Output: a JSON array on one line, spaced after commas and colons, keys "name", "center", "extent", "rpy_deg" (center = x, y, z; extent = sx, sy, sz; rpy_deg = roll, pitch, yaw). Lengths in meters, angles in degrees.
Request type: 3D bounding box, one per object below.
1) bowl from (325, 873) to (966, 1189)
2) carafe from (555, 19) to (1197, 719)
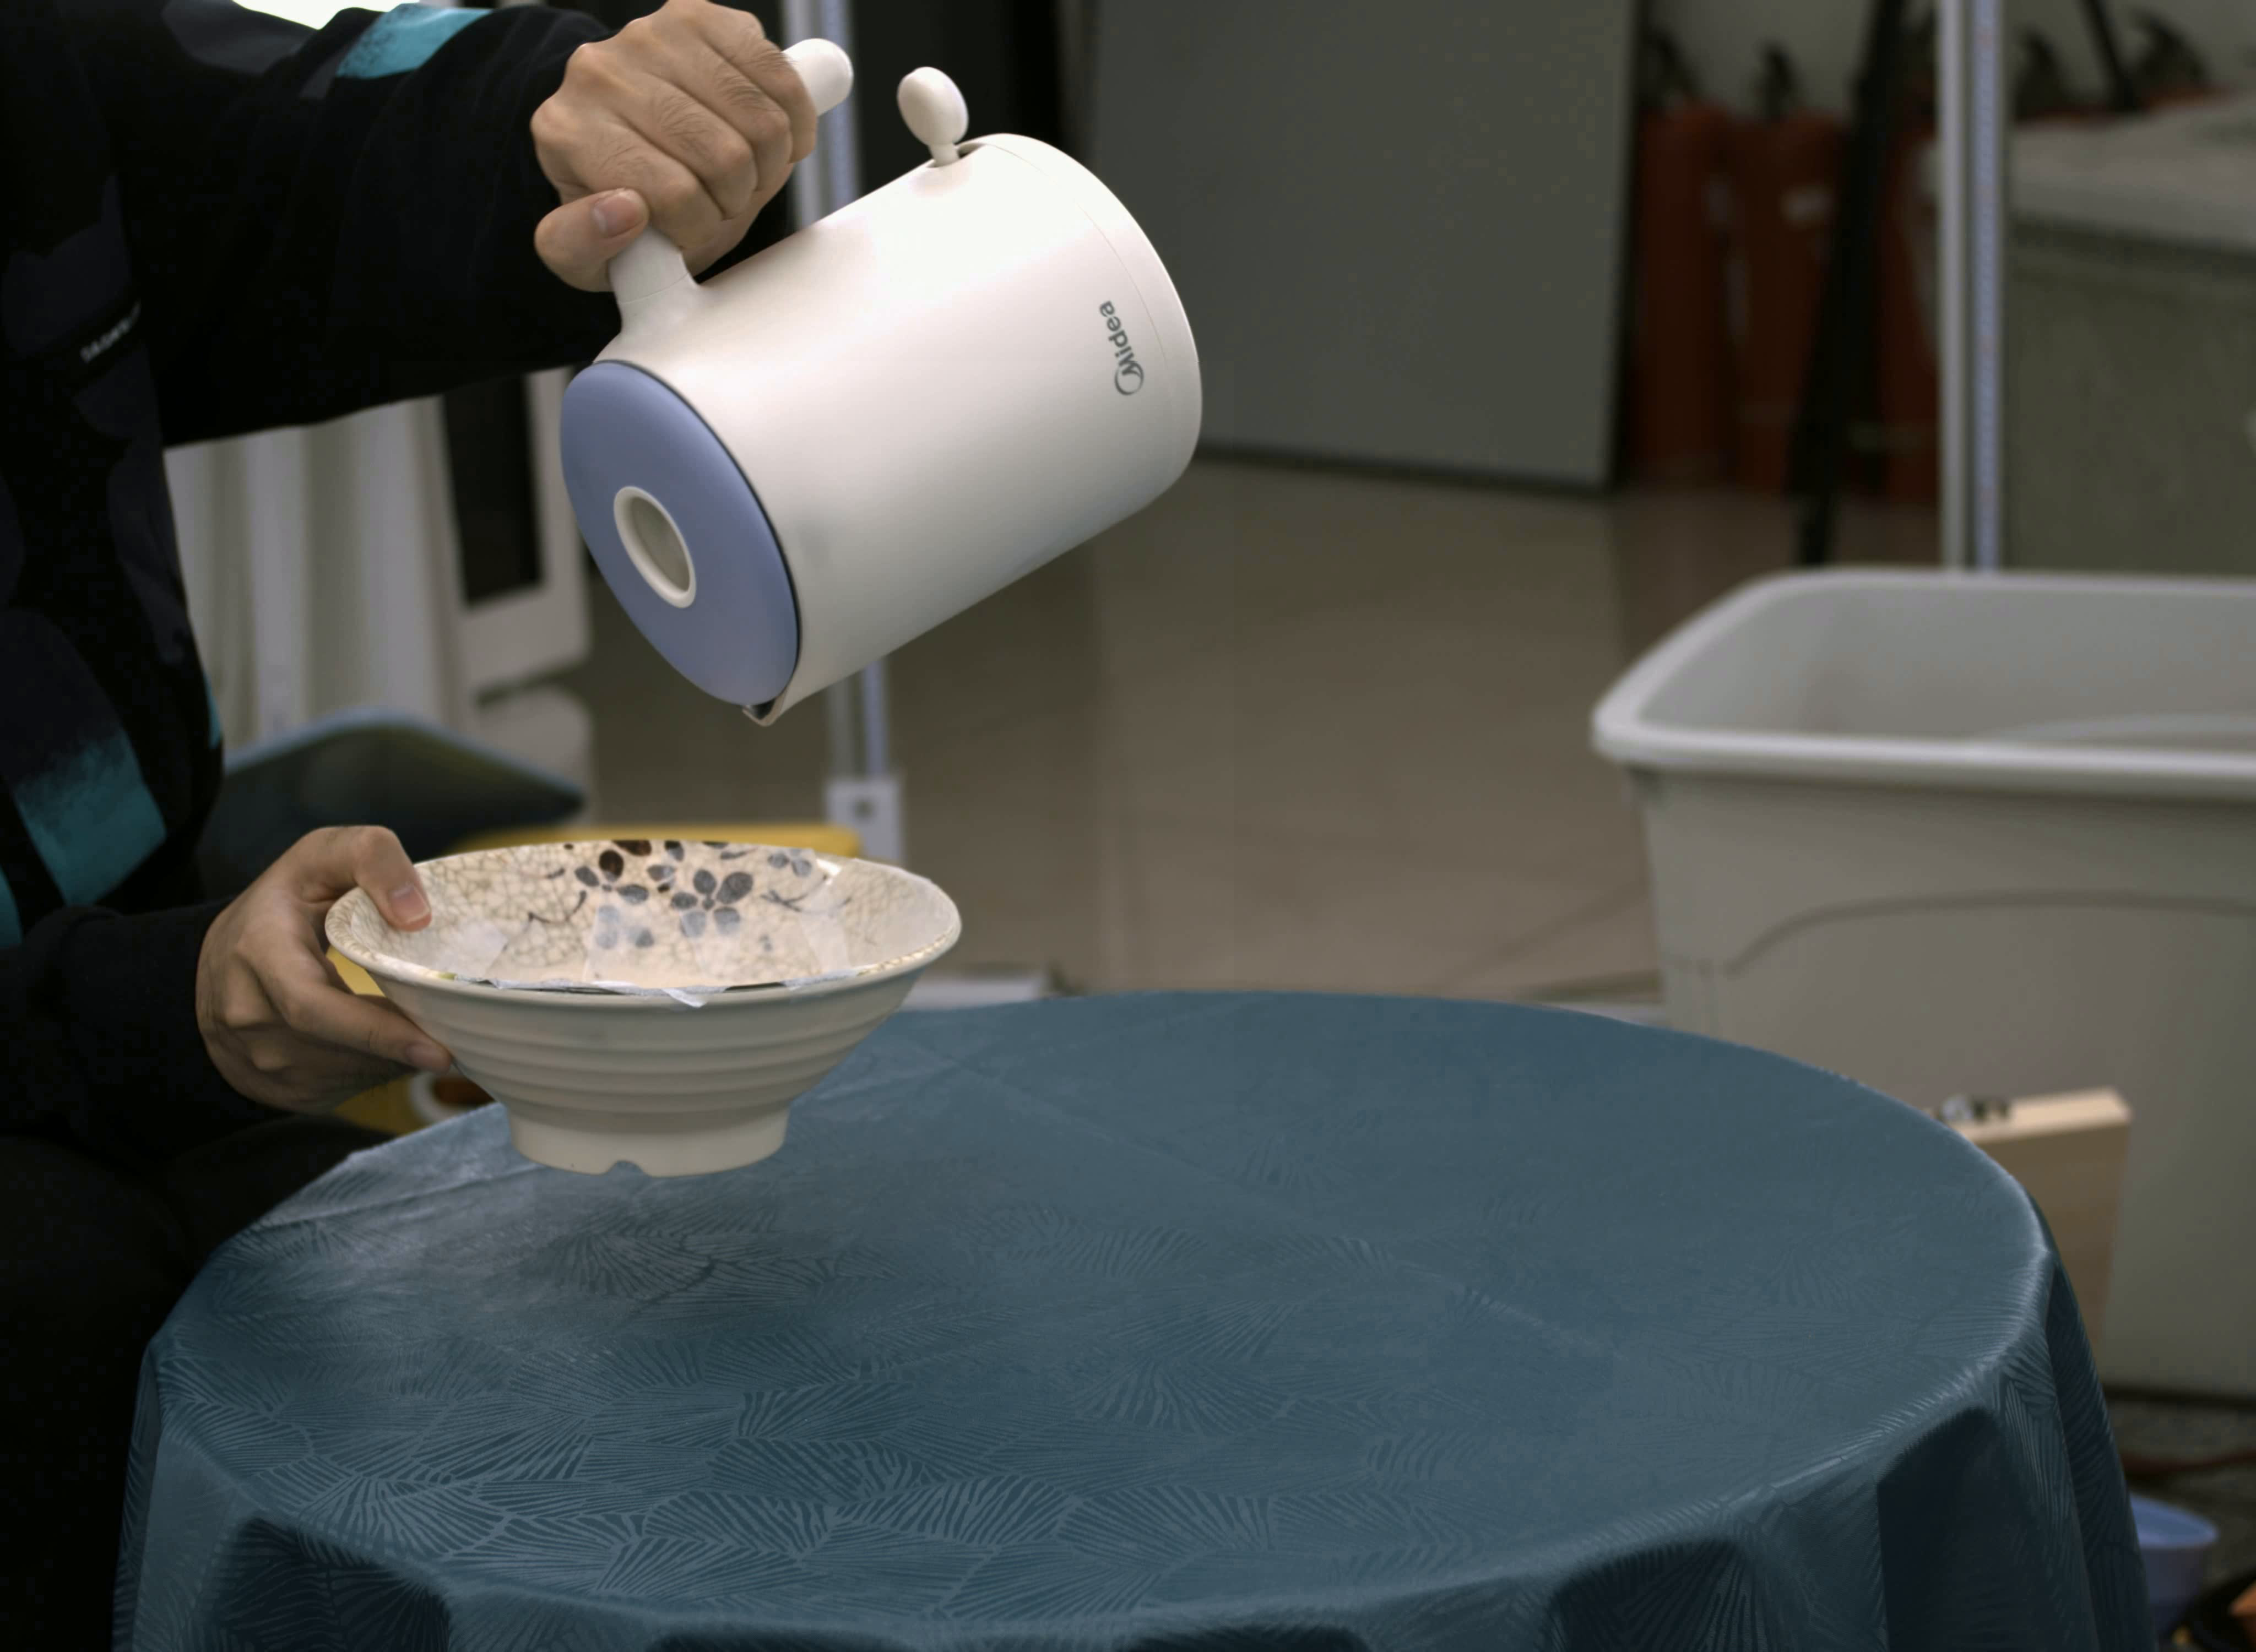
[{"name": "bowl", "center": [-0.150, 0.068, 1.708], "extent": [0.201, 0.079, 0.204], "rpy_deg": [-2, 8, -1]}, {"name": "carafe", "center": [-0.088, -0.154, 1.705], "extent": [0.179, 0.192, 0.133], "rpy_deg": [-28, 16, -29]}]
